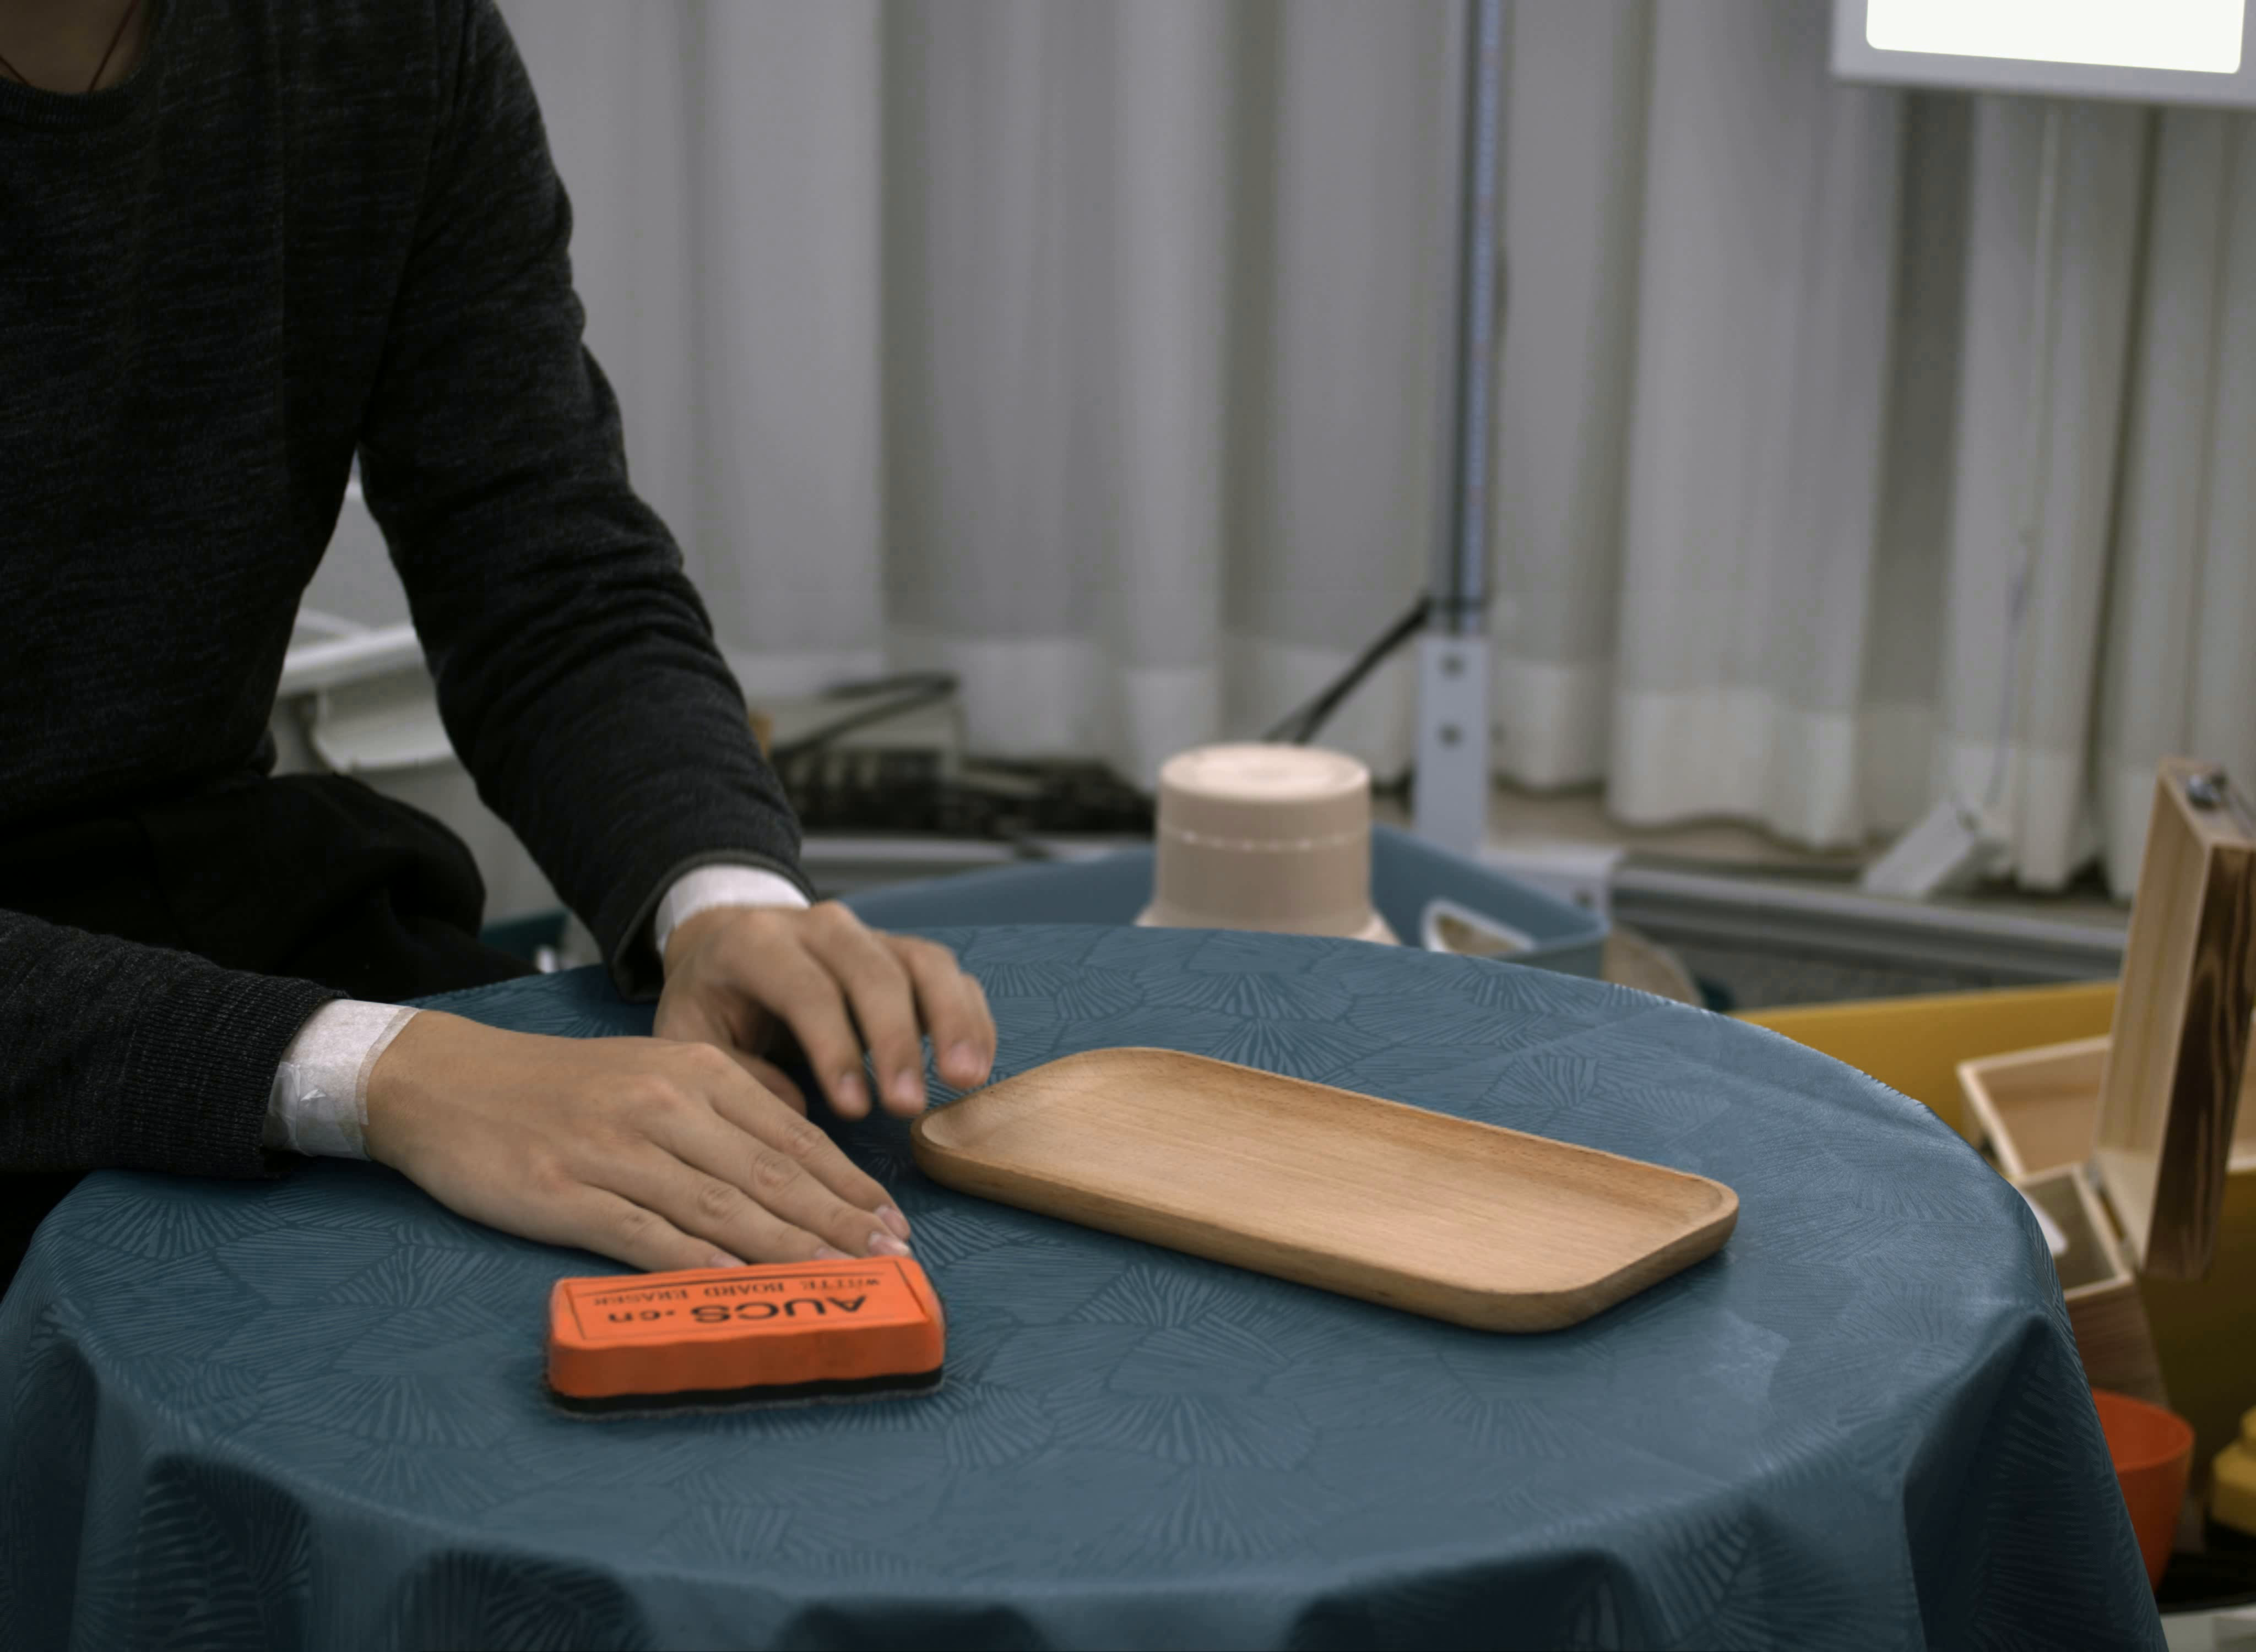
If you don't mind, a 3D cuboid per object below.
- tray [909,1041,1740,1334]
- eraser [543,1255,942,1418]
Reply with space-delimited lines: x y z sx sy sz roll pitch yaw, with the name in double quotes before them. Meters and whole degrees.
"tray" 0.057 0.108 1.606 0.247 0.023 0.131 12 17 37
"eraser" -0.108 0.141 1.465 0.108 0.023 0.058 -3 15 -11
